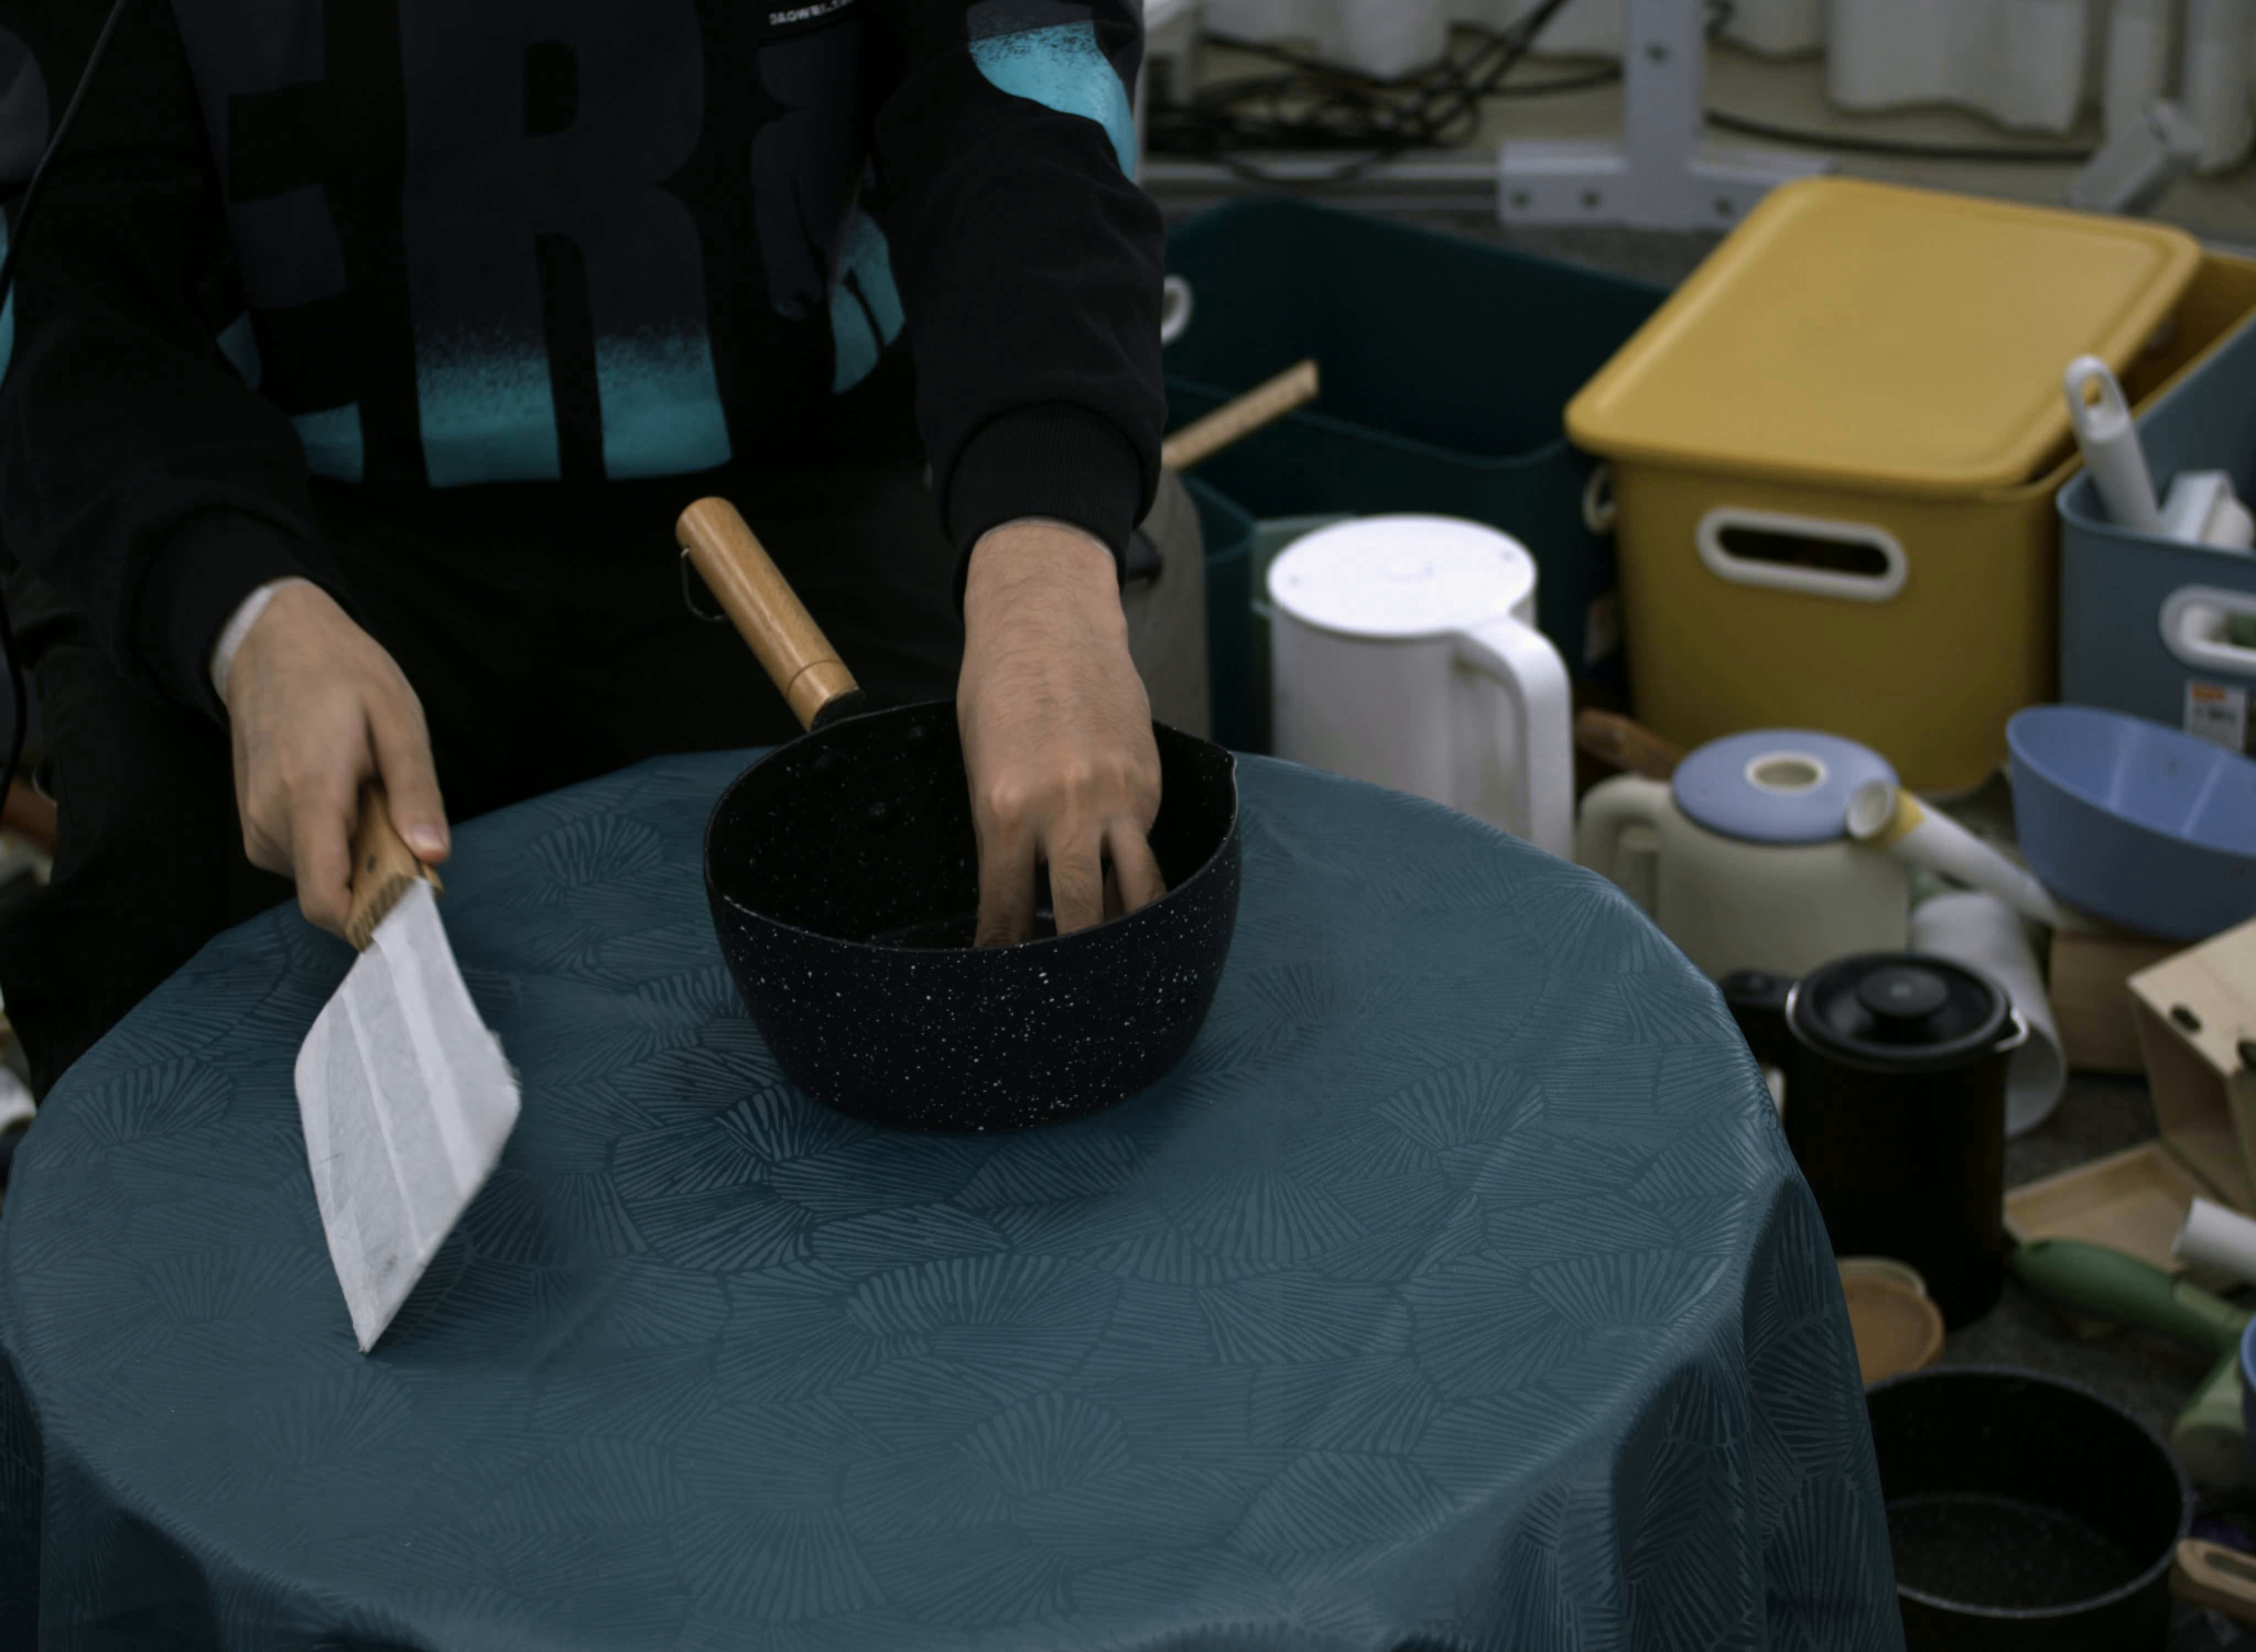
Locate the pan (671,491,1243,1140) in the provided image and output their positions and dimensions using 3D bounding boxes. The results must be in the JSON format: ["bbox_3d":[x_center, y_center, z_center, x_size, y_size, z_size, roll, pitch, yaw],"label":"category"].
[{"bbox_3d":[-0.088,-0.008,2.003,0.208,0.107,0.345,-17,32,-22],"label":"pan"}]

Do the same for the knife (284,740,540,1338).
[{"bbox_3d":[-0.252,0.059,1.914,0.021,0.113,0.319,33,17,-29],"label":"knife"}]
